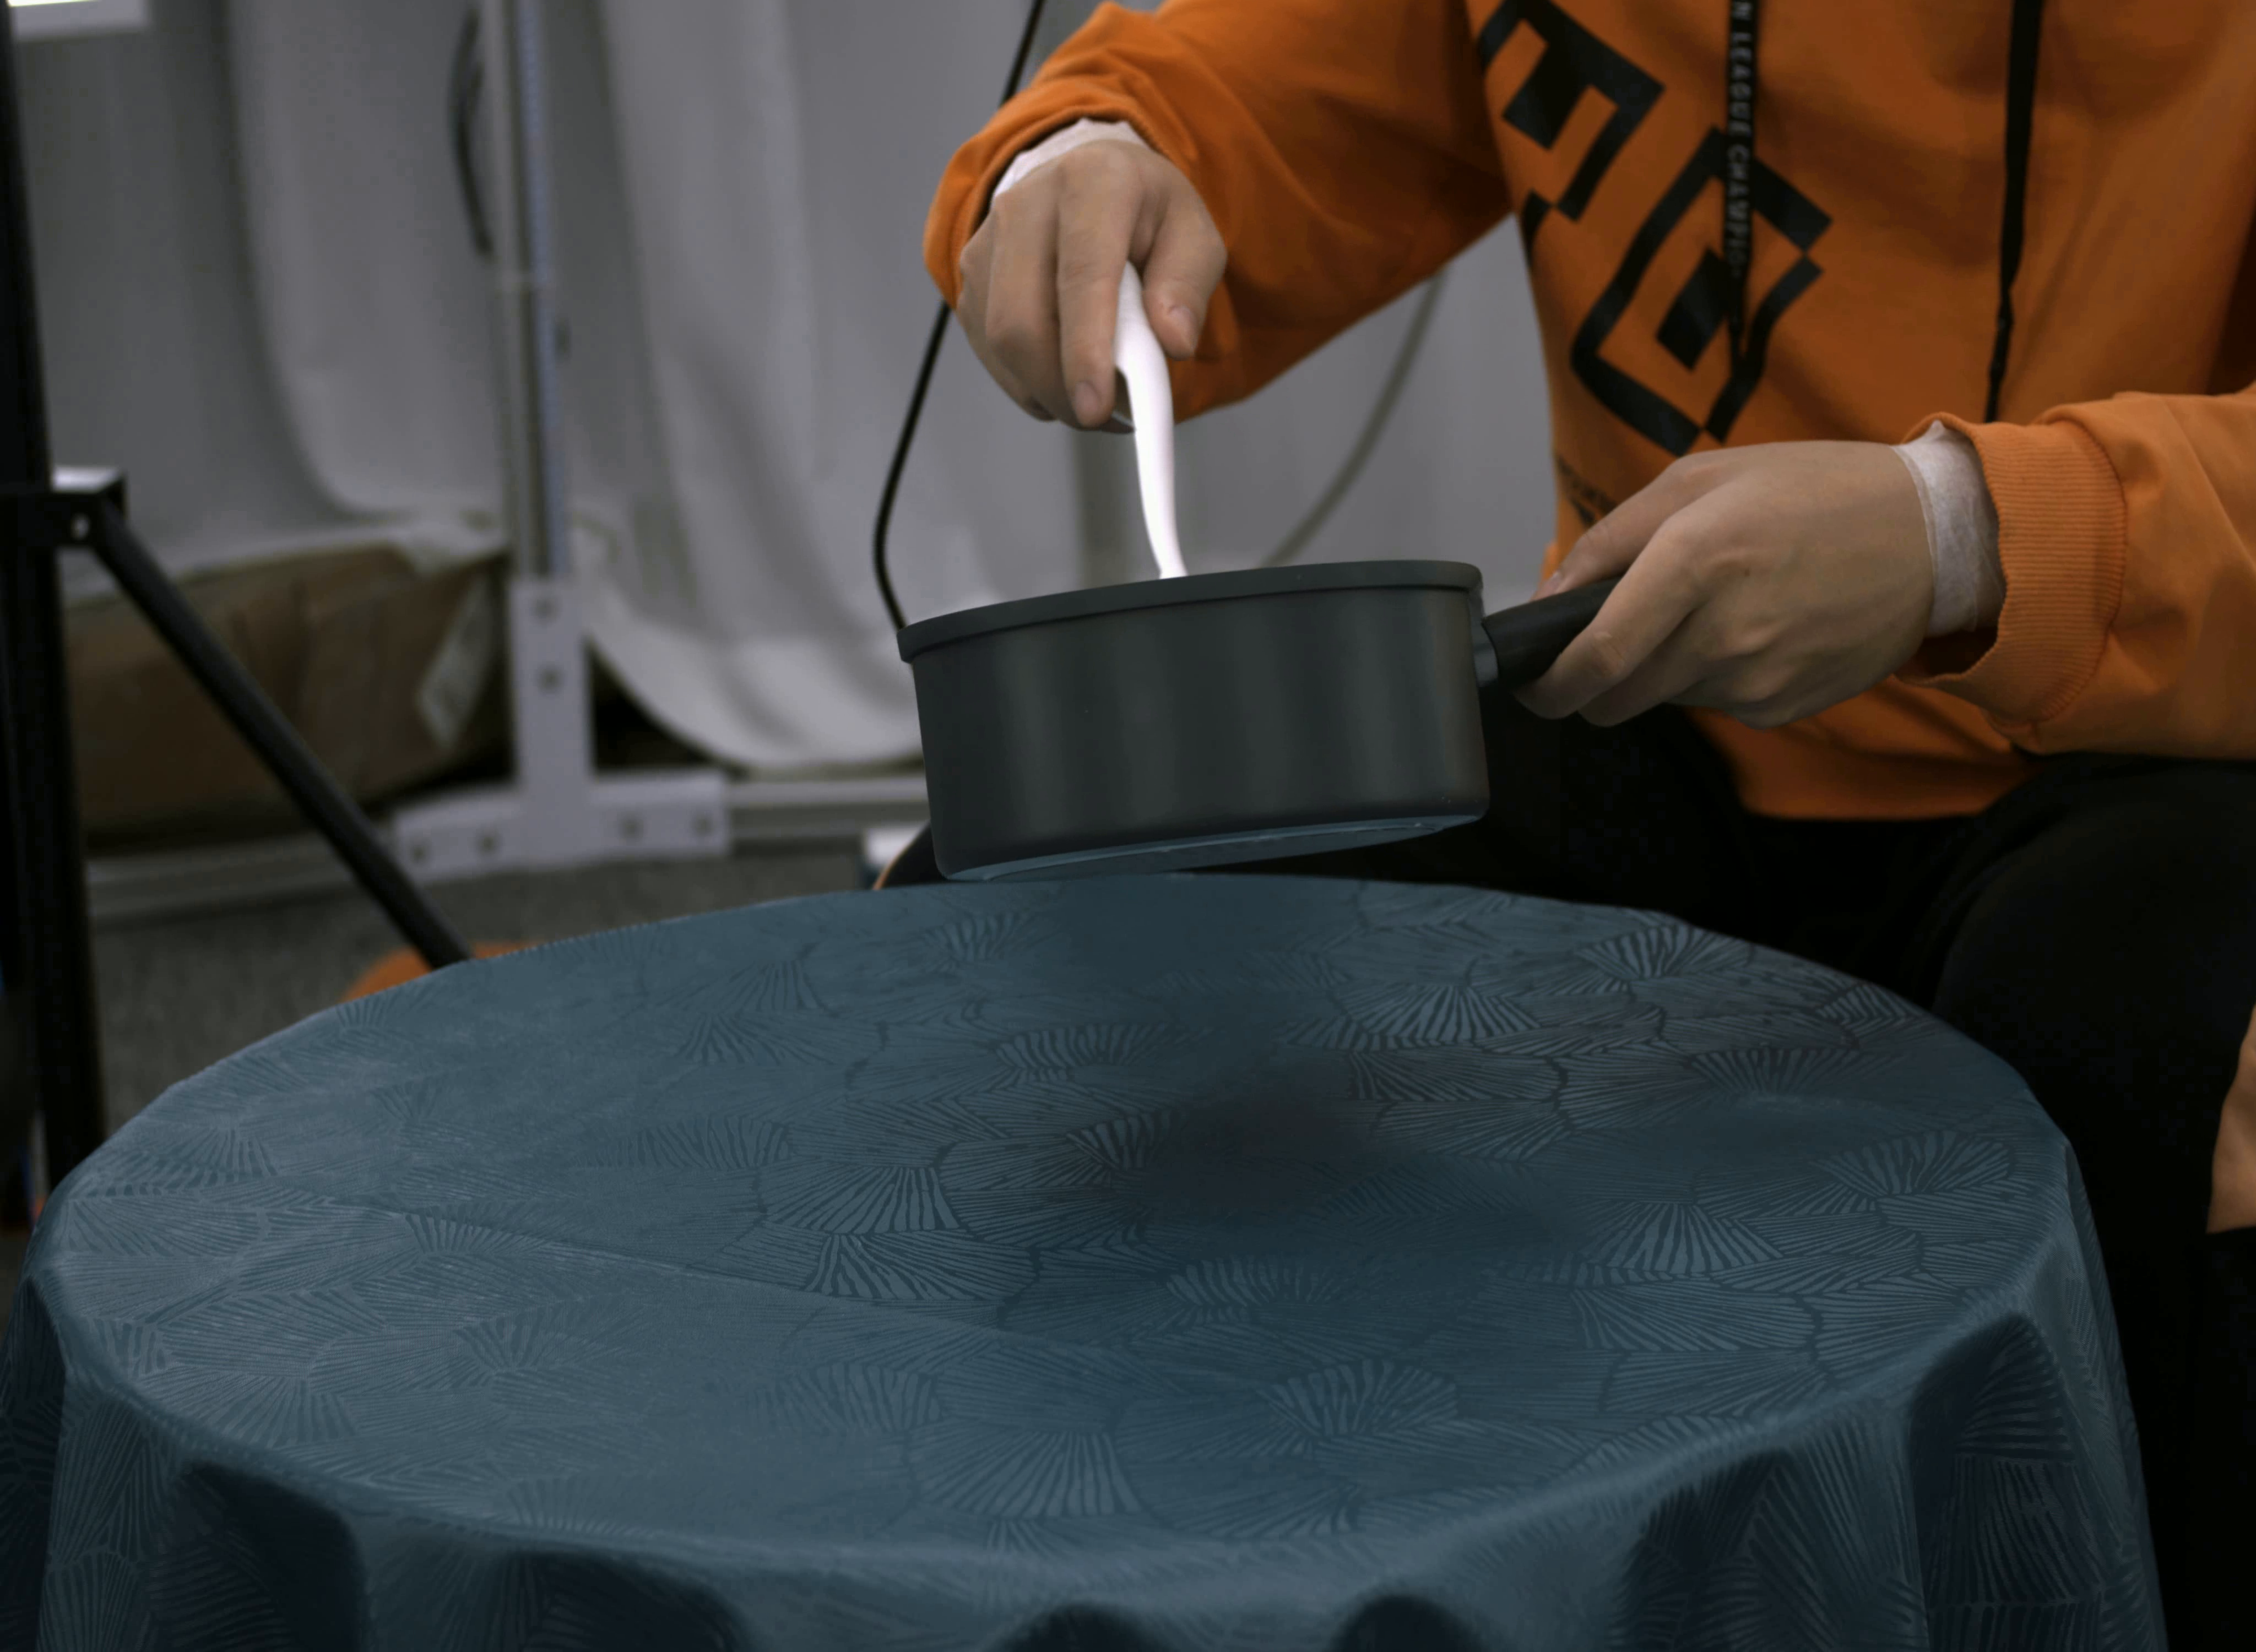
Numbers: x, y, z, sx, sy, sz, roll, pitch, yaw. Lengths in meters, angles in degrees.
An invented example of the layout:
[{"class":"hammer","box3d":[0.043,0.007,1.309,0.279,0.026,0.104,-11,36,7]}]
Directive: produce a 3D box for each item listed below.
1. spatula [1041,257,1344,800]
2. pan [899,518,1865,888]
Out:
[{"class":"spatula","box3d":[0.017,-0.091,1.600,0.032,0.058,0.292,-24,35,2]},{"class":"pan","box3d":[0.088,-0.037,1.590,0.321,0.087,0.175,-6,-2,-30]}]
